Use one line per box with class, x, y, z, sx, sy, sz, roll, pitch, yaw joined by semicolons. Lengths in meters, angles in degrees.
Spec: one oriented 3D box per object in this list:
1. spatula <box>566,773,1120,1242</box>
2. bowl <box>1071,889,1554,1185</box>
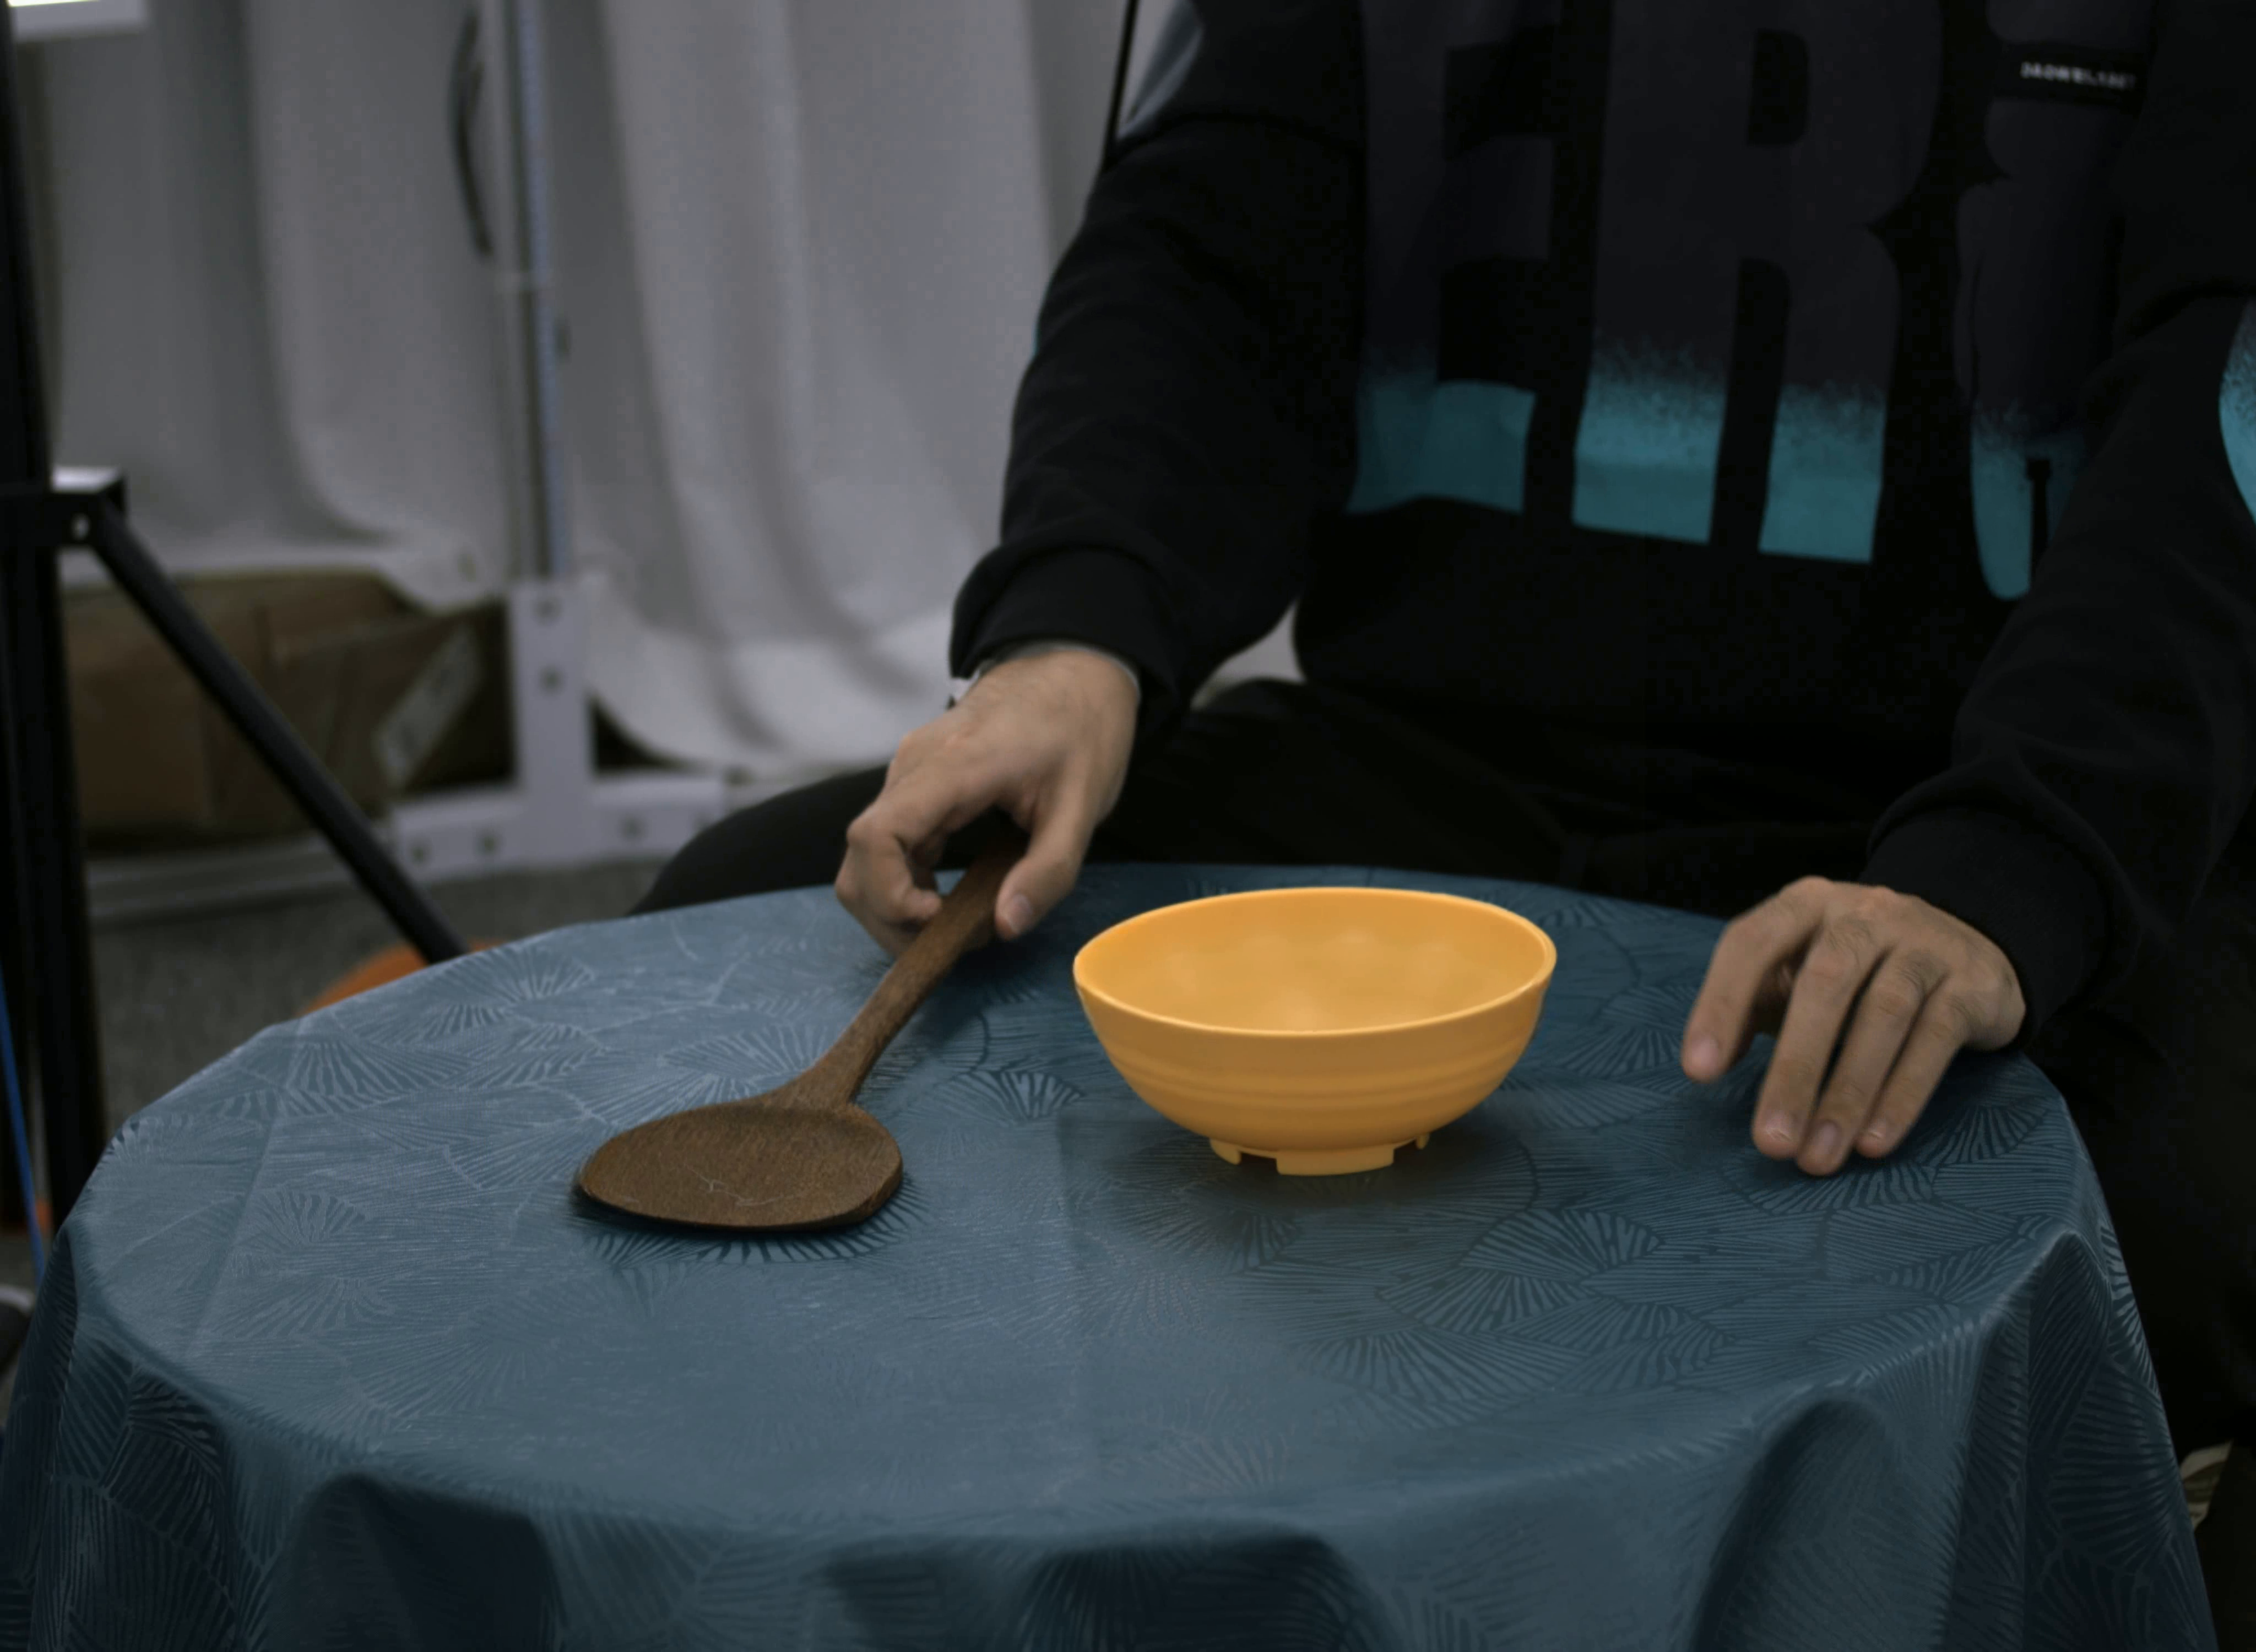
spatula;-0.069;0.051;1.706;0.097;0.016;0.383;4;22;17
bowl;0.054;0.068;1.589;0.144;0.060;0.146;0;16;-1
